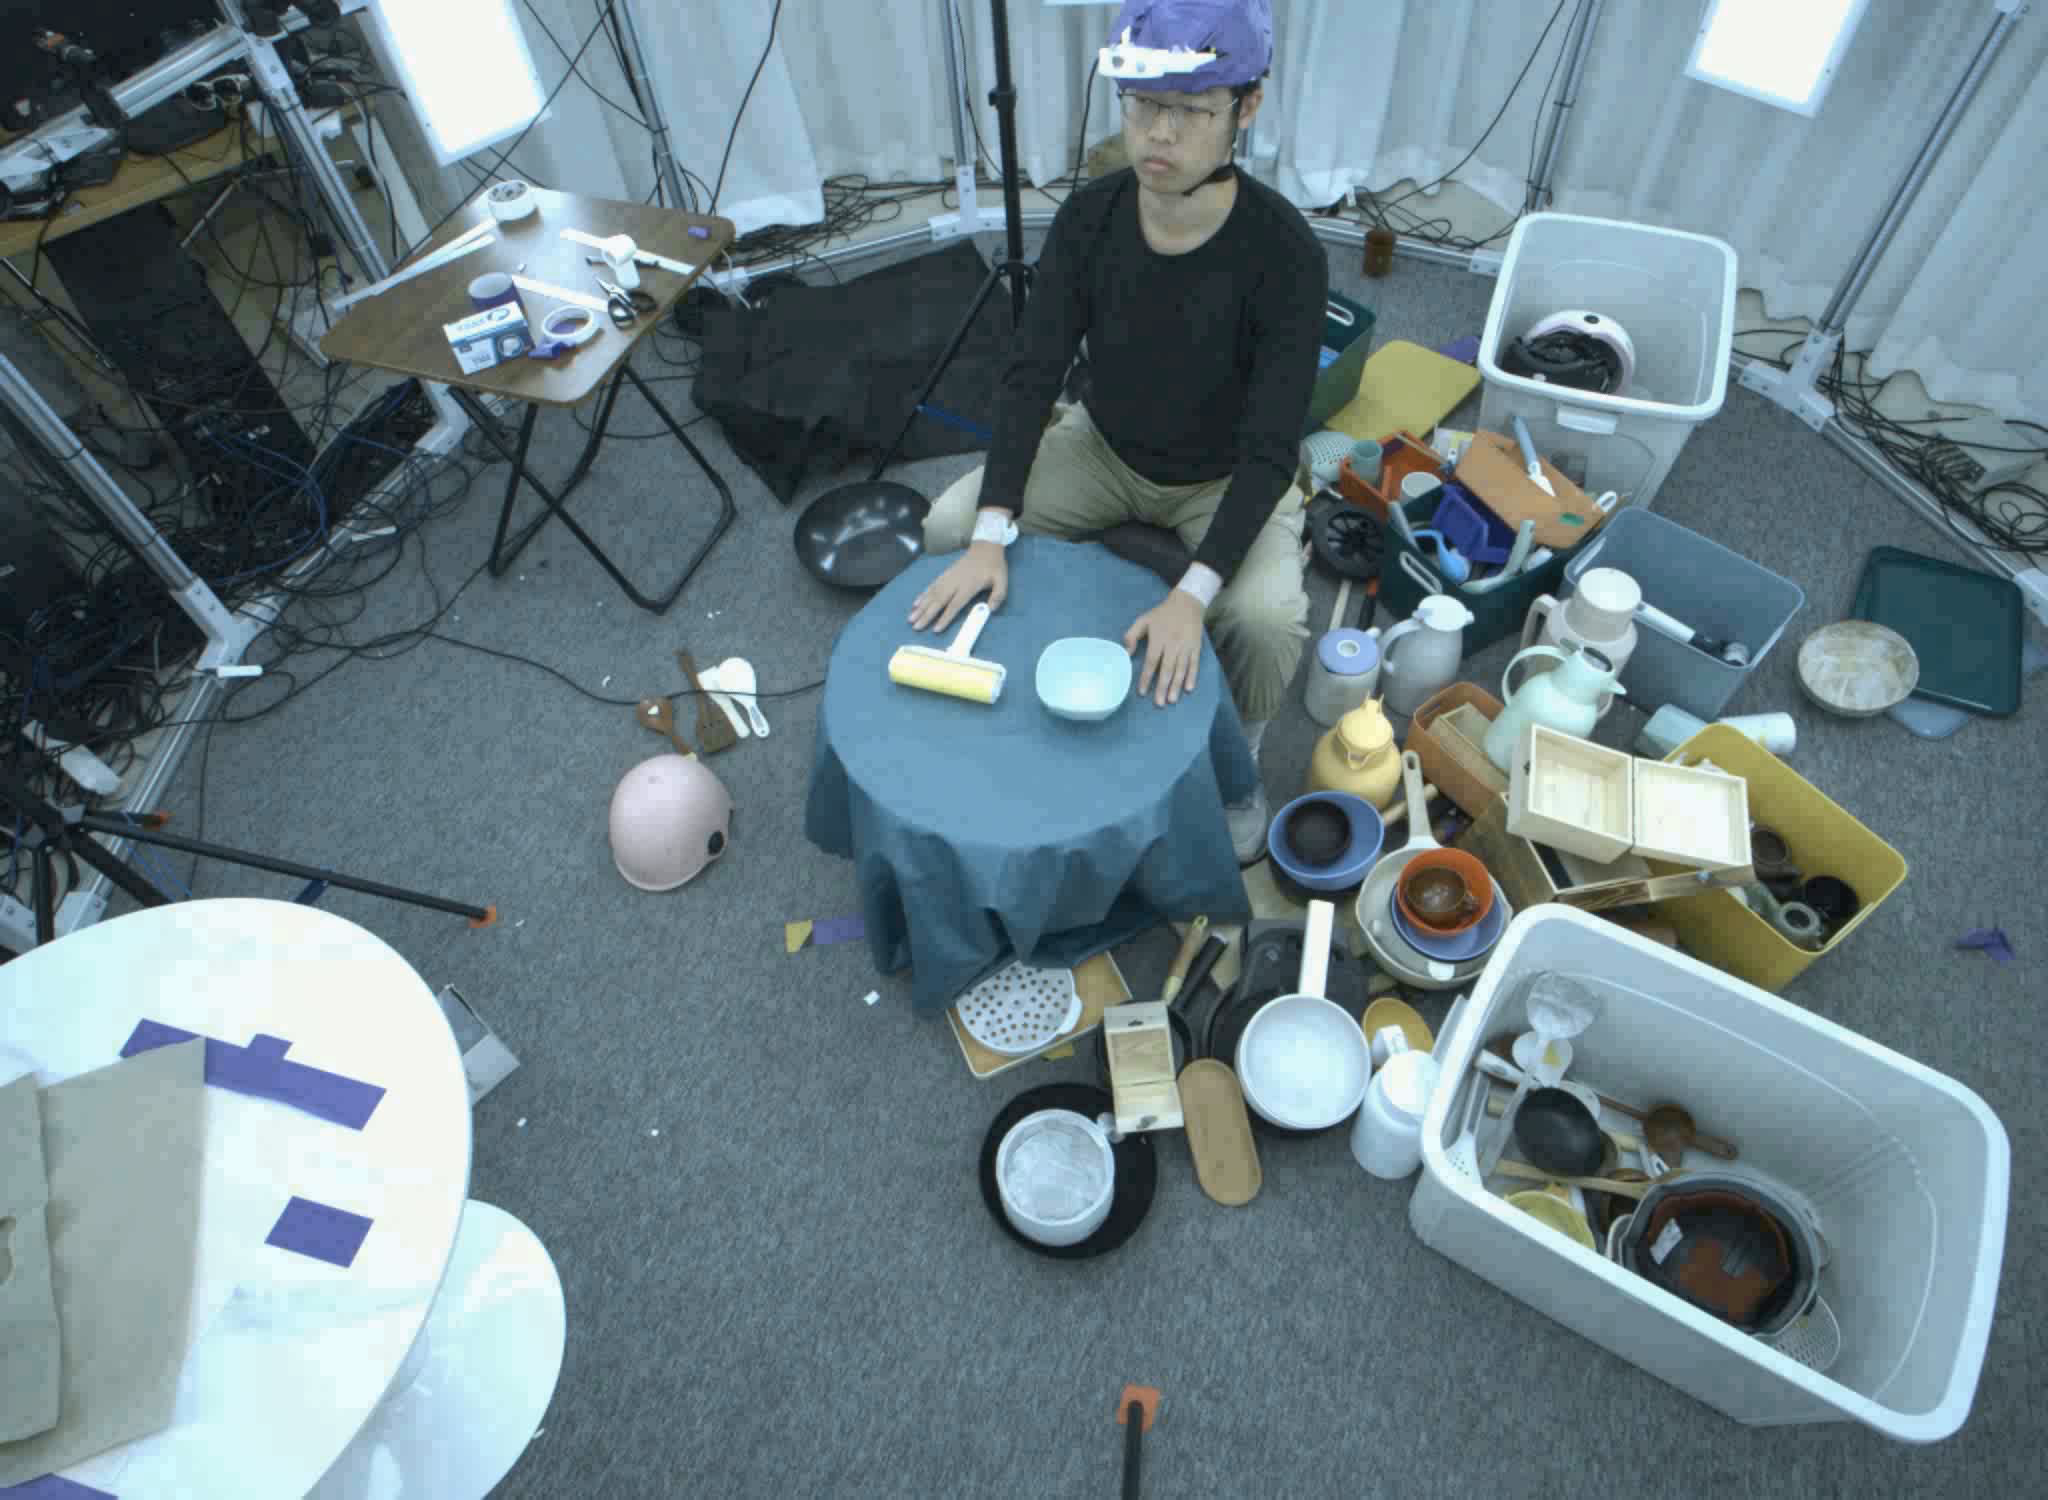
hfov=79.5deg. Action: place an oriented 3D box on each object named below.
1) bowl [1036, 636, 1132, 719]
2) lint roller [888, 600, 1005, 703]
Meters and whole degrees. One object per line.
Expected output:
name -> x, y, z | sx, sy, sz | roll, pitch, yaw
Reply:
bowl -> 0.089, -0.097, 1.818 | 0.151, 0.059, 0.150 | -1, 56, 3
lint roller -> -0.100, -0.167, 1.877 | 0.173, 0.052, 0.191 | 12, 61, 10
